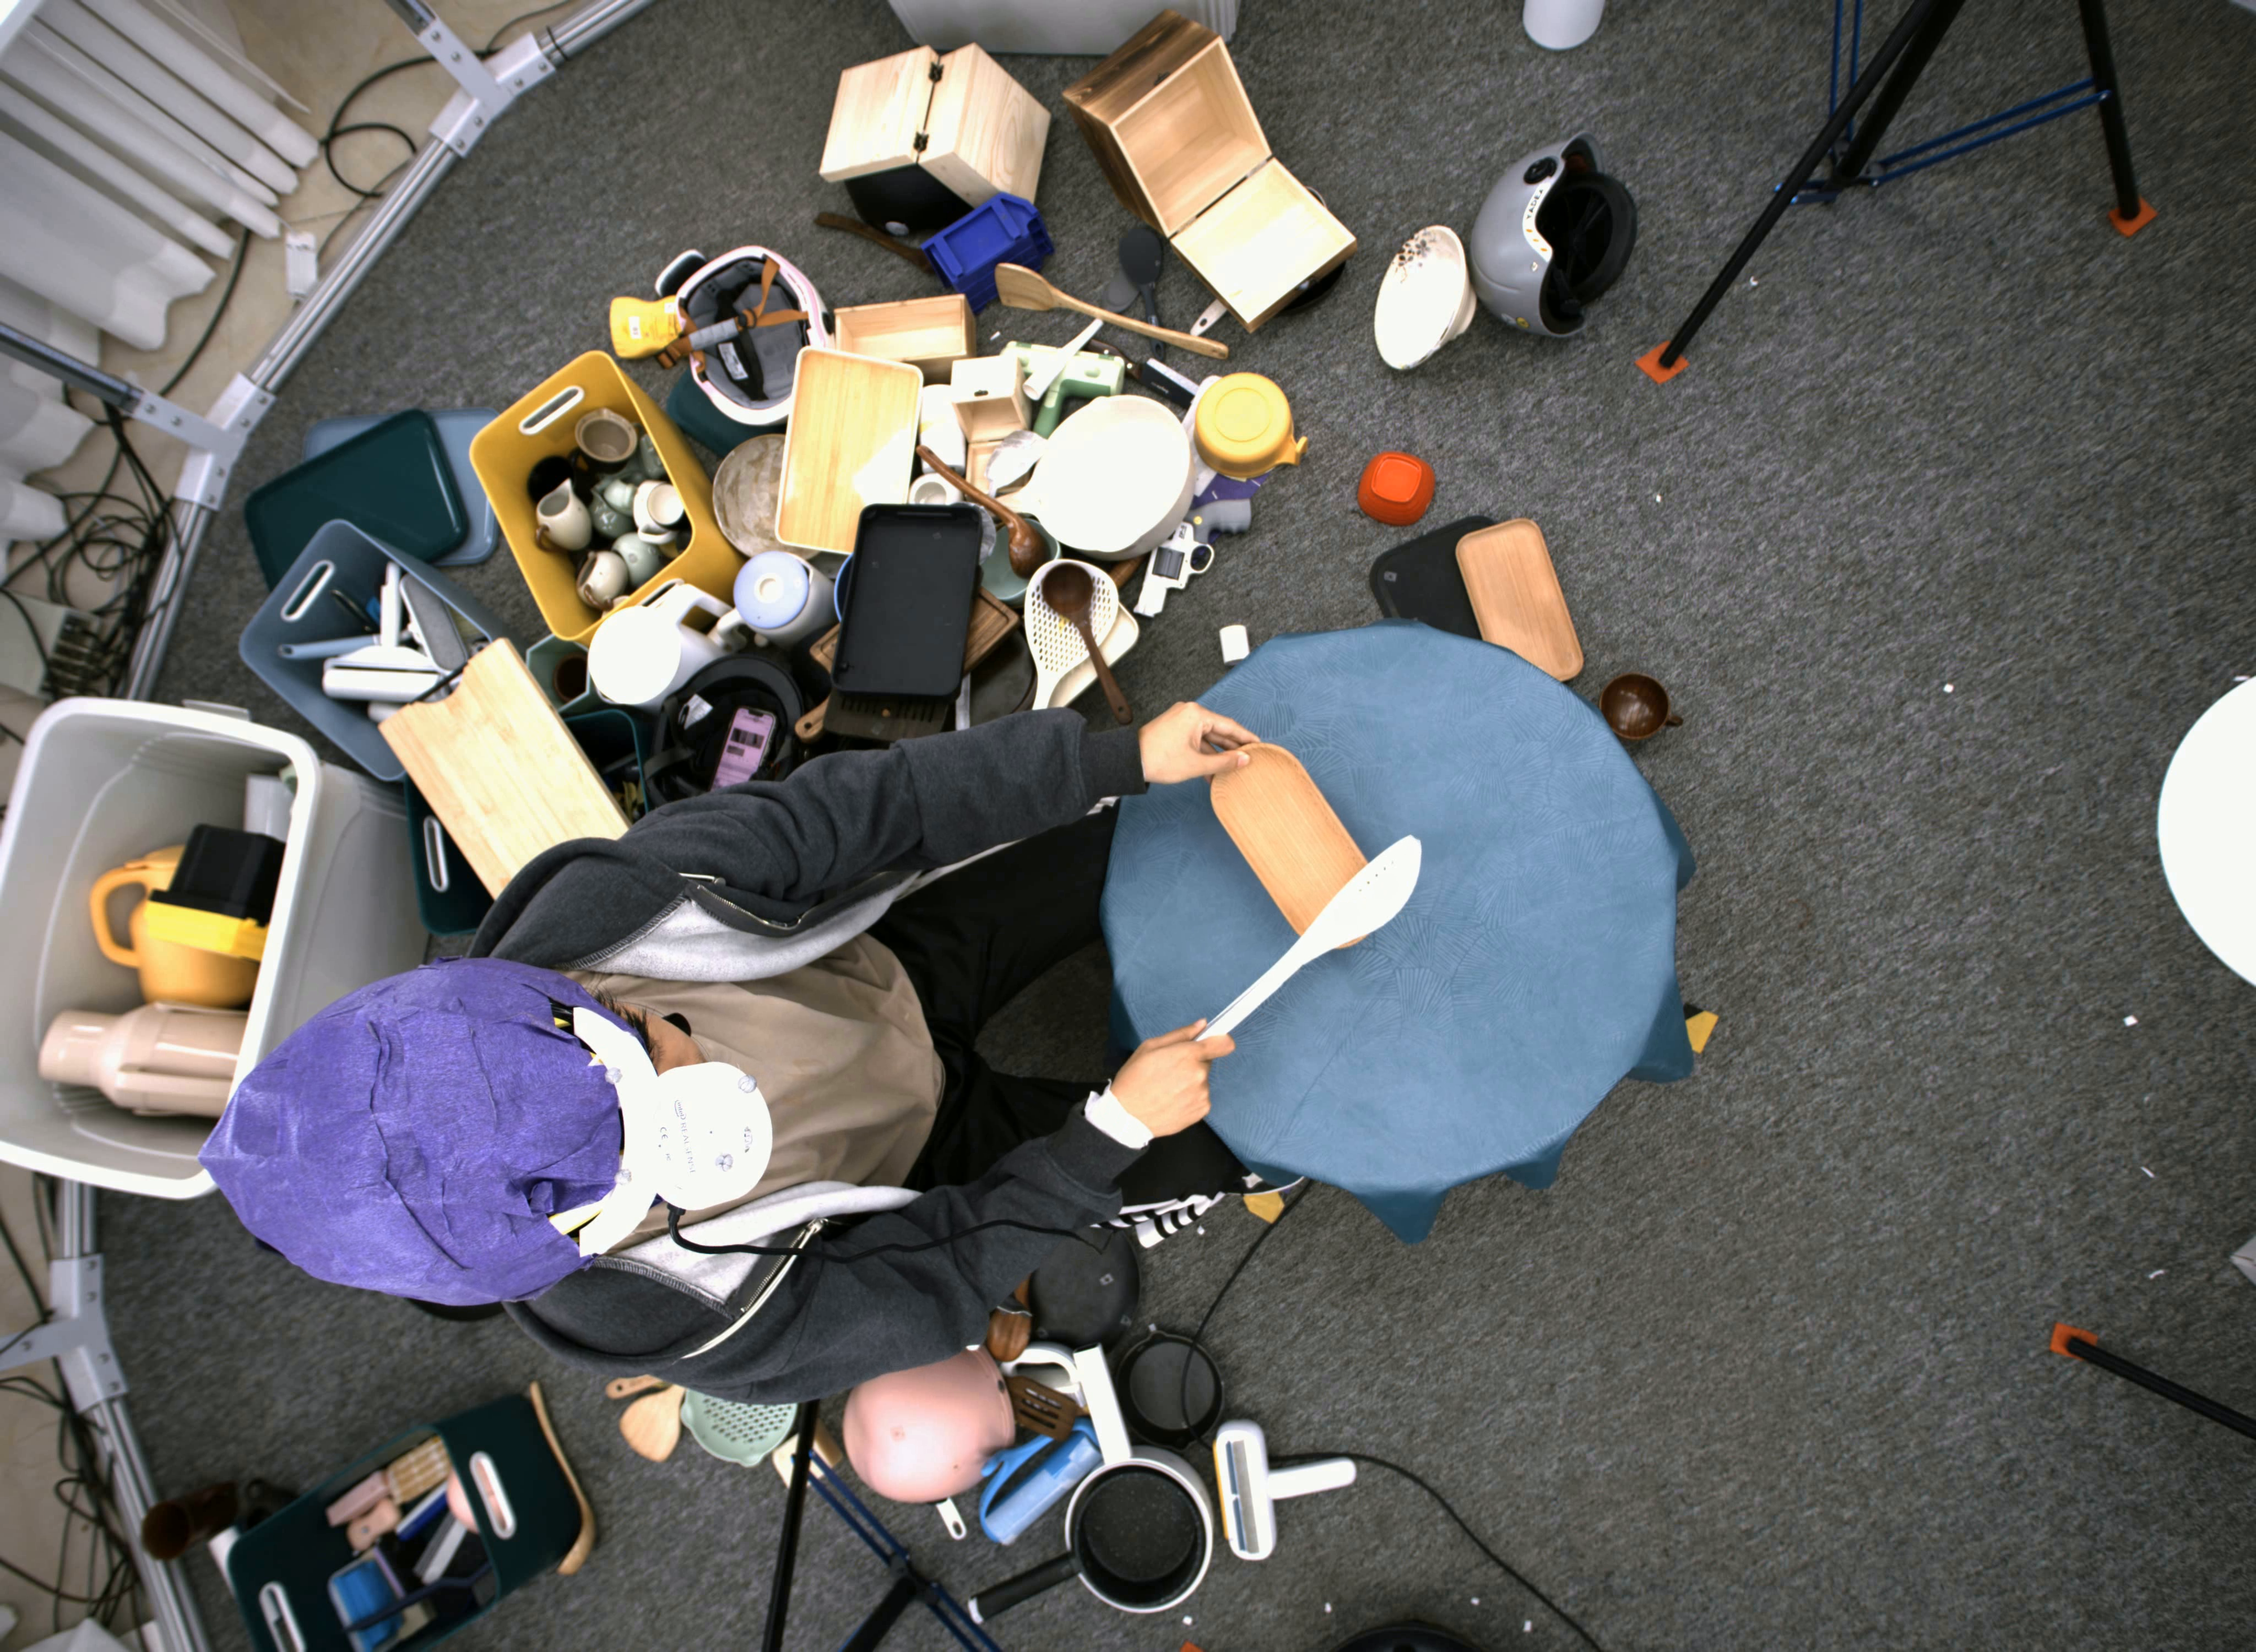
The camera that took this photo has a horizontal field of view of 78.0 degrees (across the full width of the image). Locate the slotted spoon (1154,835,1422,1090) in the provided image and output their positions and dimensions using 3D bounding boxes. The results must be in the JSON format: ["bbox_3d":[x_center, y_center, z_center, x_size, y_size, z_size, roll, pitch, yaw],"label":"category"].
[{"bbox_3d":[0.154,0.134,1.331,0.353,0.134,0.046,-39,91,12],"label":"slotted spoon"}]

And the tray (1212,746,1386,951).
[{"bbox_3d":[0.174,0.022,1.398,0.102,0.020,0.231,-35,93,10],"label":"tray"}]
